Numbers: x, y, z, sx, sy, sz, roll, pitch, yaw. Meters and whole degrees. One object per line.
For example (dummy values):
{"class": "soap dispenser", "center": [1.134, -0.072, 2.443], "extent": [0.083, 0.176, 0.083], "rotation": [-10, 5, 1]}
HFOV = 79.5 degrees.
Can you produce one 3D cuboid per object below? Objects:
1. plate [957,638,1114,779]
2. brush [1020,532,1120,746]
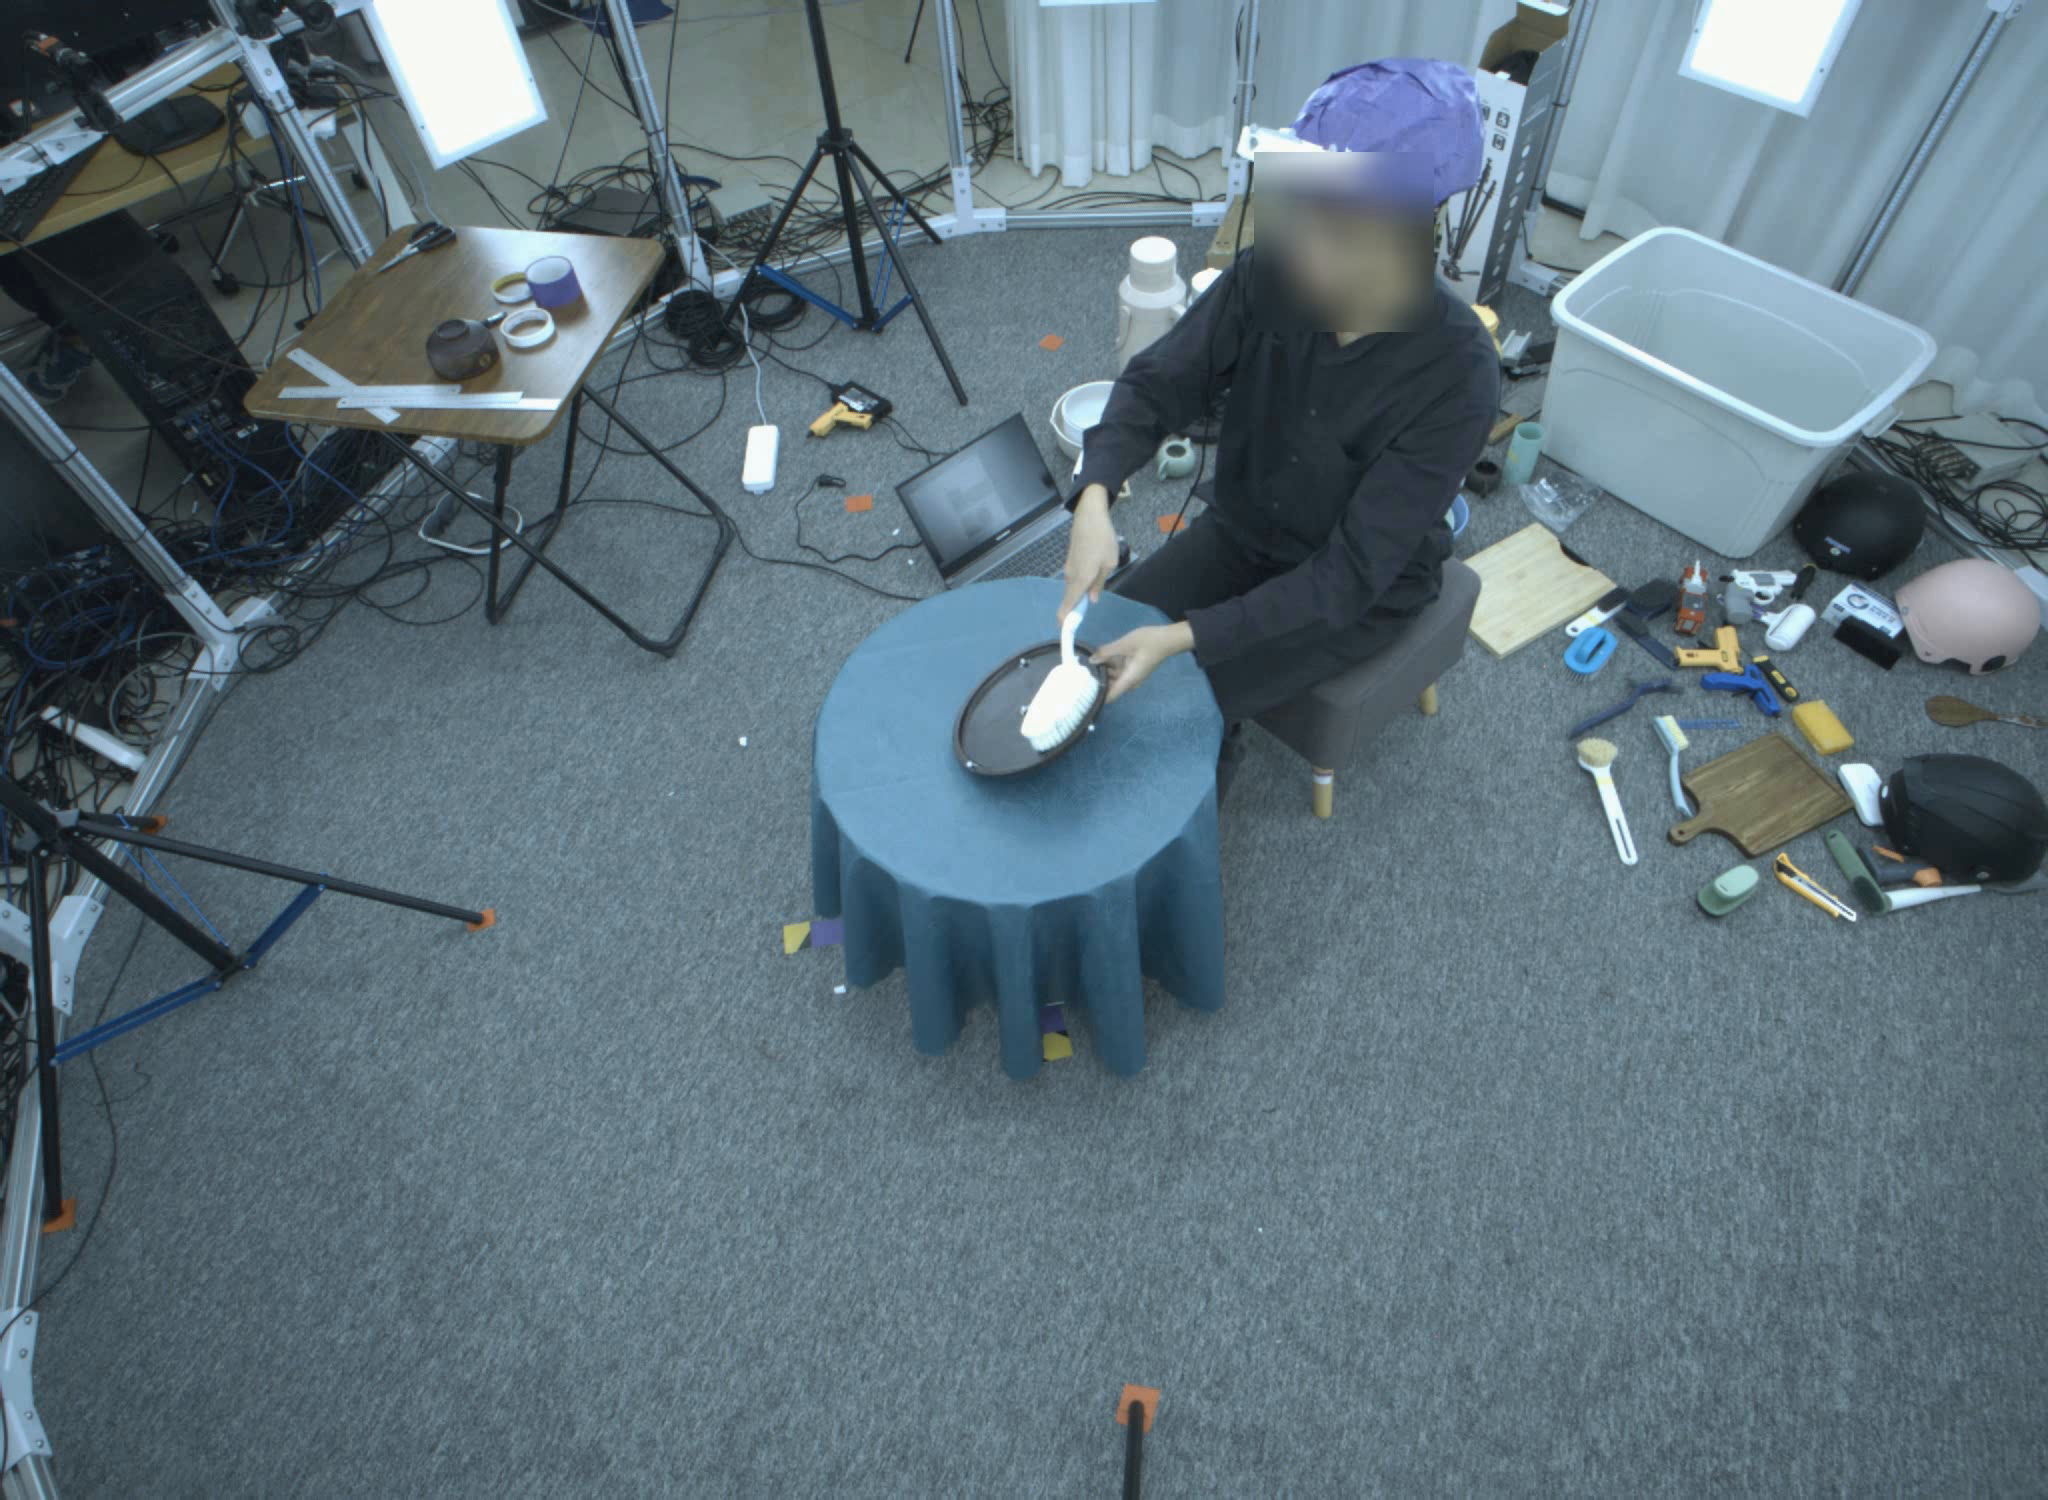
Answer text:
{"class": "plate", "center": [0.016, -0.059, 1.744], "extent": [0.252, 0.029, 0.252], "rotation": [-21, 40, 21]}
{"class": "brush", "center": [0.086, -0.150, 1.709], "extent": [0.082, 0.085, 0.325], "rotation": [21, 78, 8]}
